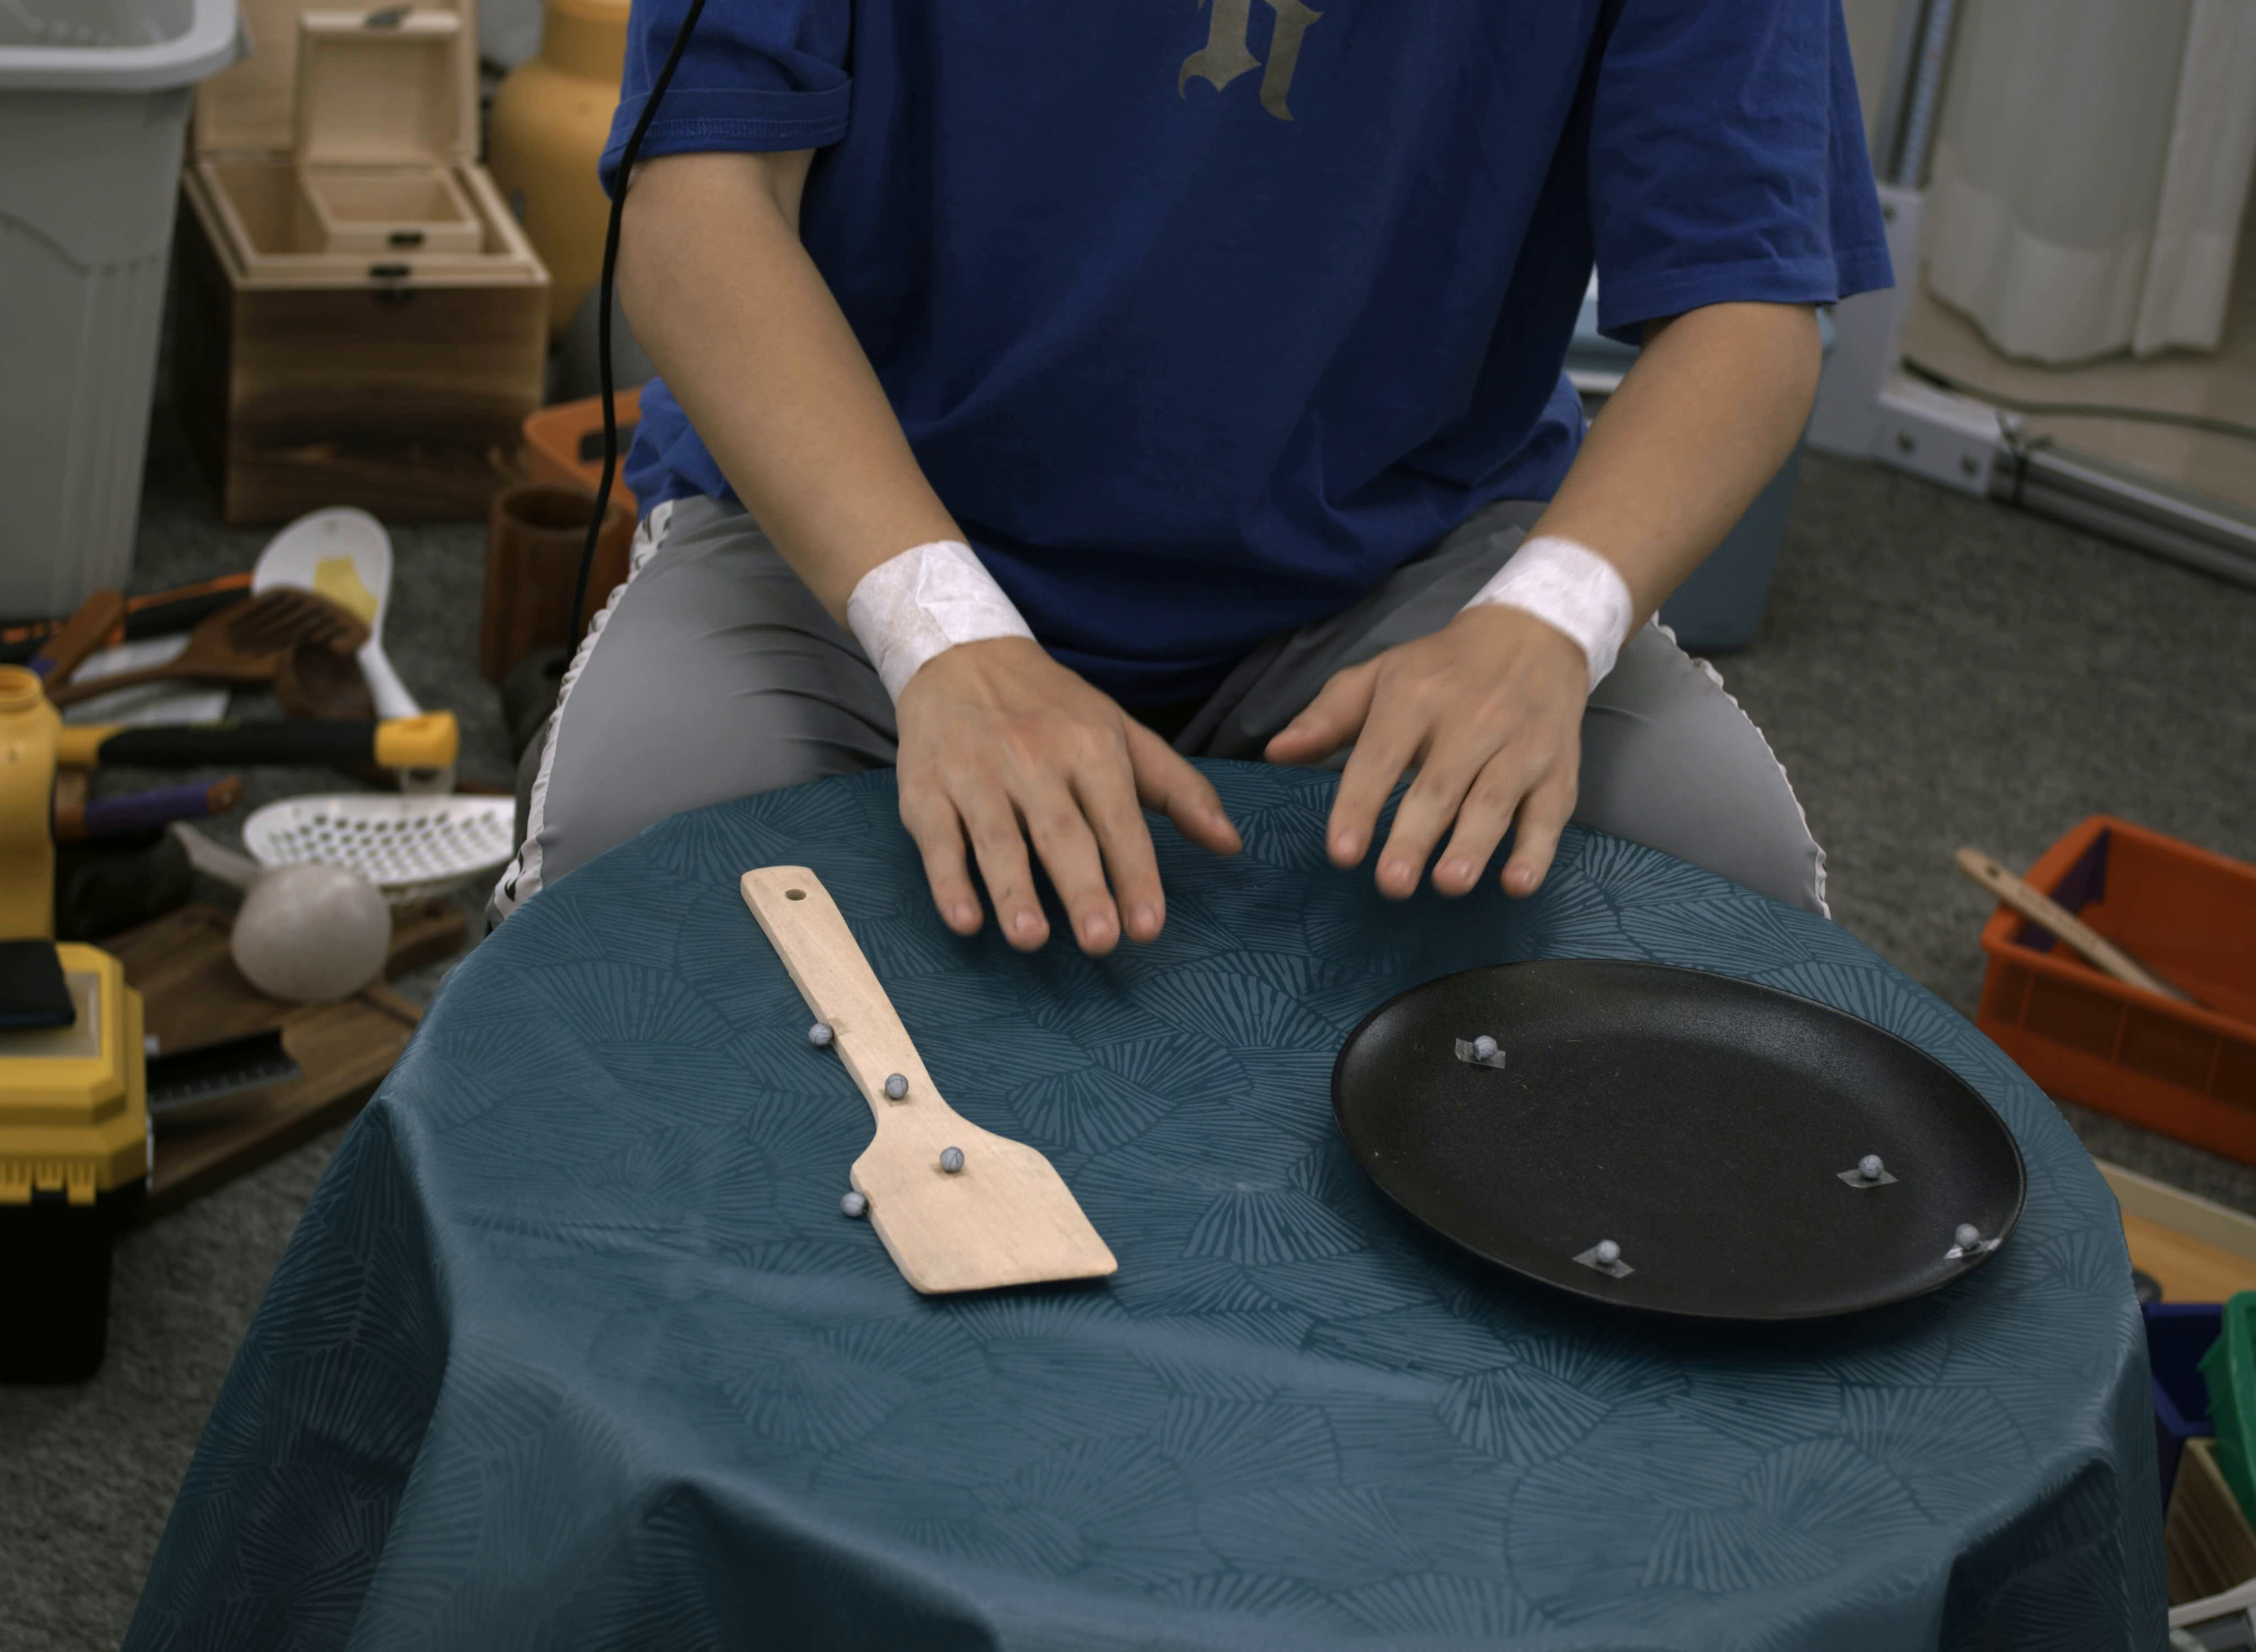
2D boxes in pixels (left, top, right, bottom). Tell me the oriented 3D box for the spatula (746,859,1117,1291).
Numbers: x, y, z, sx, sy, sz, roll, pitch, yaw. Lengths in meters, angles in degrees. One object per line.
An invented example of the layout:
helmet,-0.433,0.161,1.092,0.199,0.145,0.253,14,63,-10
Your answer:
spatula,-0.084,0.083,1.855,0.072,0.010,0.295,-5,29,-19

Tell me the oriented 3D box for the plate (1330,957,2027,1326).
plate,0.188,0.113,1.842,0.243,0.023,0.246,5,27,-3
